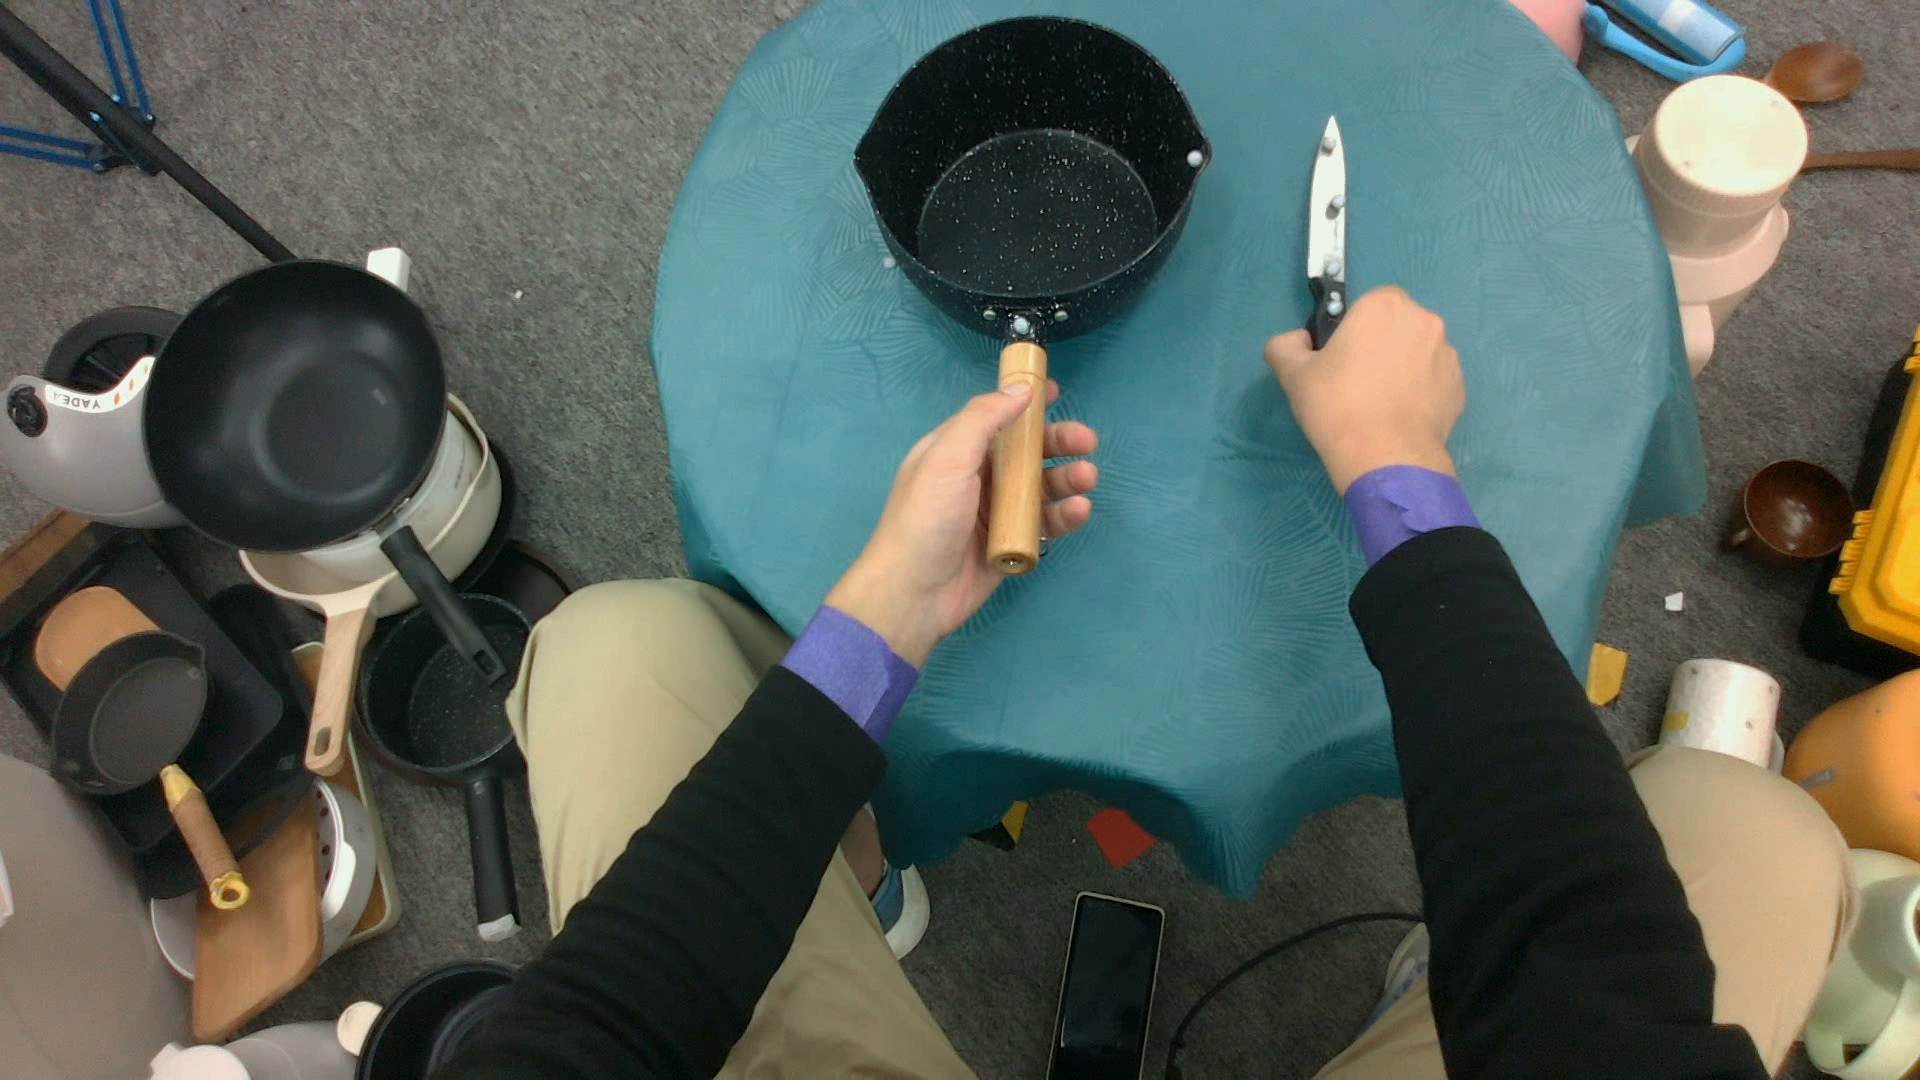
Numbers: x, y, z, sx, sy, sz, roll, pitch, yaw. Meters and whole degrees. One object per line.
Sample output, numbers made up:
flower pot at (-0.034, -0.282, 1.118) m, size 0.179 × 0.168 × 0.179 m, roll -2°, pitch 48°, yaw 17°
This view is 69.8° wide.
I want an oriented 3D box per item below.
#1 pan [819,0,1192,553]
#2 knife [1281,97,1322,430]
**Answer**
pan at (0.025, -0.141, 0.766) m, size 0.207 × 0.108 × 0.344 m, roll 0°, pitch 69°, yaw 4°
knife at (0.198, -0.167, 0.799) m, size 0.024 × 0.016 × 0.239 m, roll 12°, pitch 63°, yaw -11°
